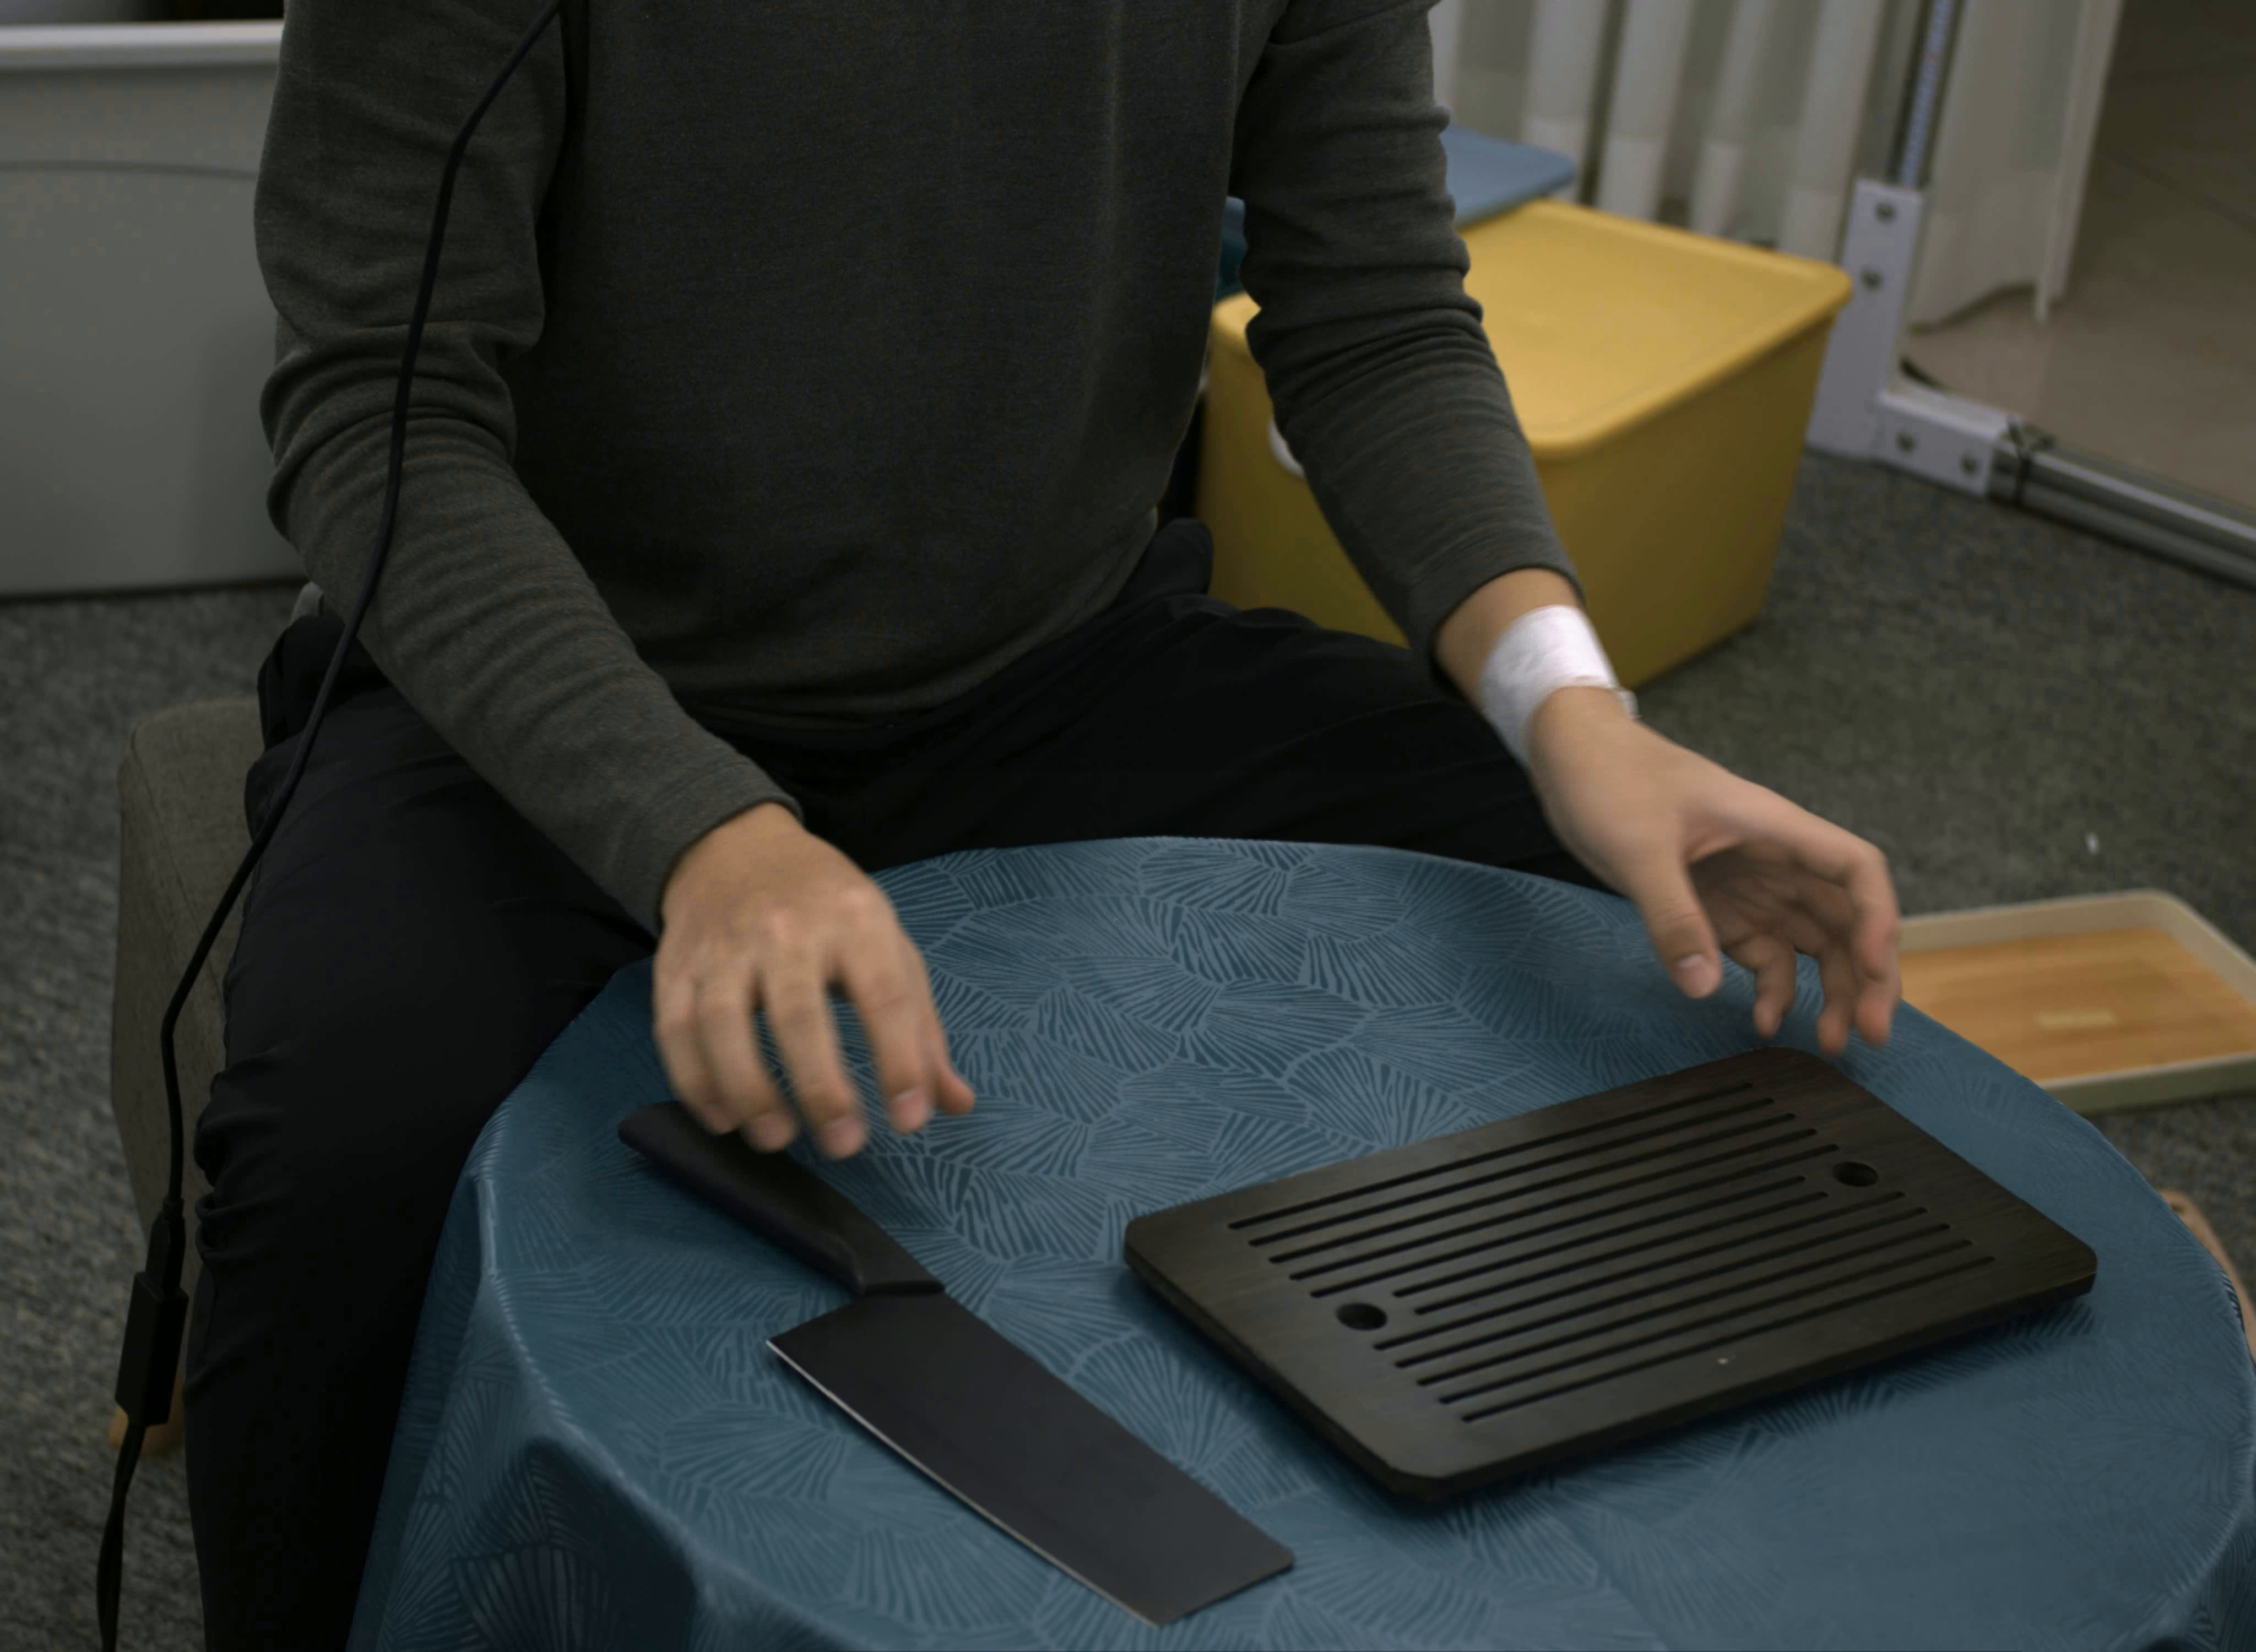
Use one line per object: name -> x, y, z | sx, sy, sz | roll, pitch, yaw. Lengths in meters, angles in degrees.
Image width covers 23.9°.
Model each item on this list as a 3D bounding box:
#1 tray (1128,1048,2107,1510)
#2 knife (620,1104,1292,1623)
tray -> 0.165, 0.148, 1.775 | 0.304, 0.018, 0.171 | -12, 32, -33
knife -> -0.068, 0.167, 1.691 | 0.080, 0.021, 0.305 | -16, 36, -35
